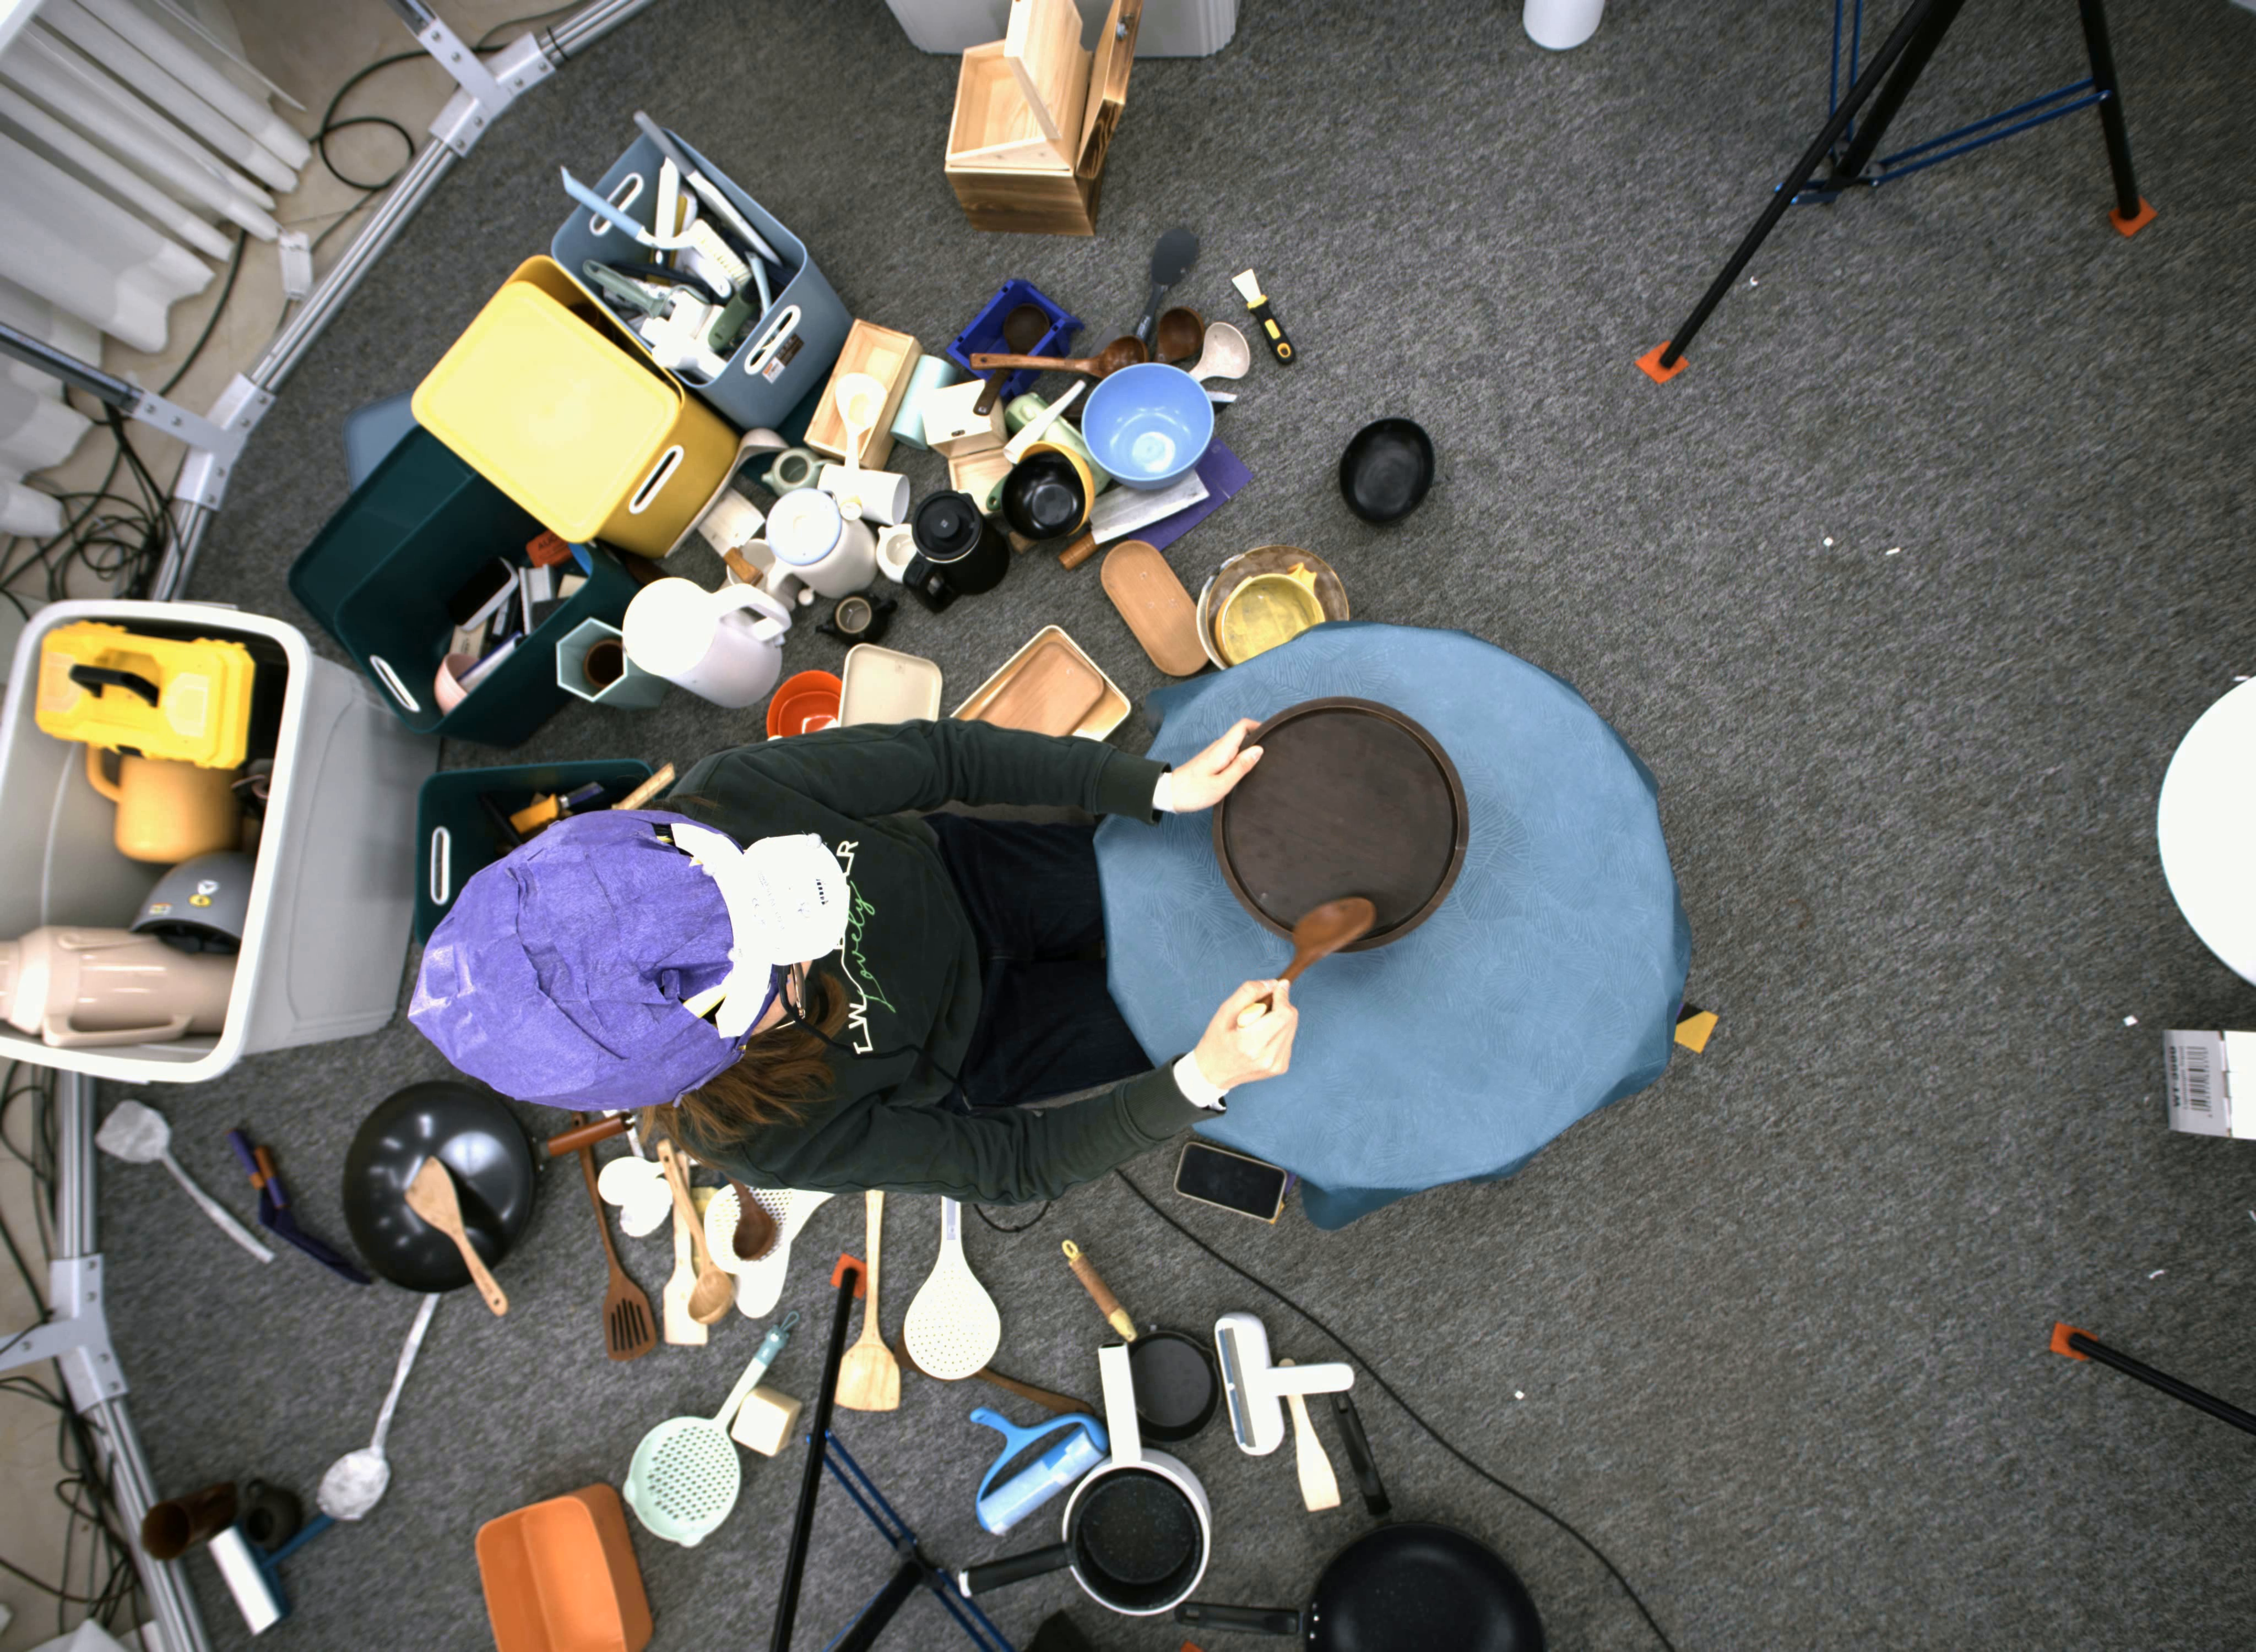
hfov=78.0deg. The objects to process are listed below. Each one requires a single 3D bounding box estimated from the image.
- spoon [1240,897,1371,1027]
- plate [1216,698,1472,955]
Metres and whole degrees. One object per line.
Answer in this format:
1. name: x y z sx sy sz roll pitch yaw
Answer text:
1. spoon: 0.159 0.121 1.269 0.076 0.211 0.017 -2 115 38
2. plate: 0.211 0.000 1.365 0.256 0.029 0.255 0 92 15
